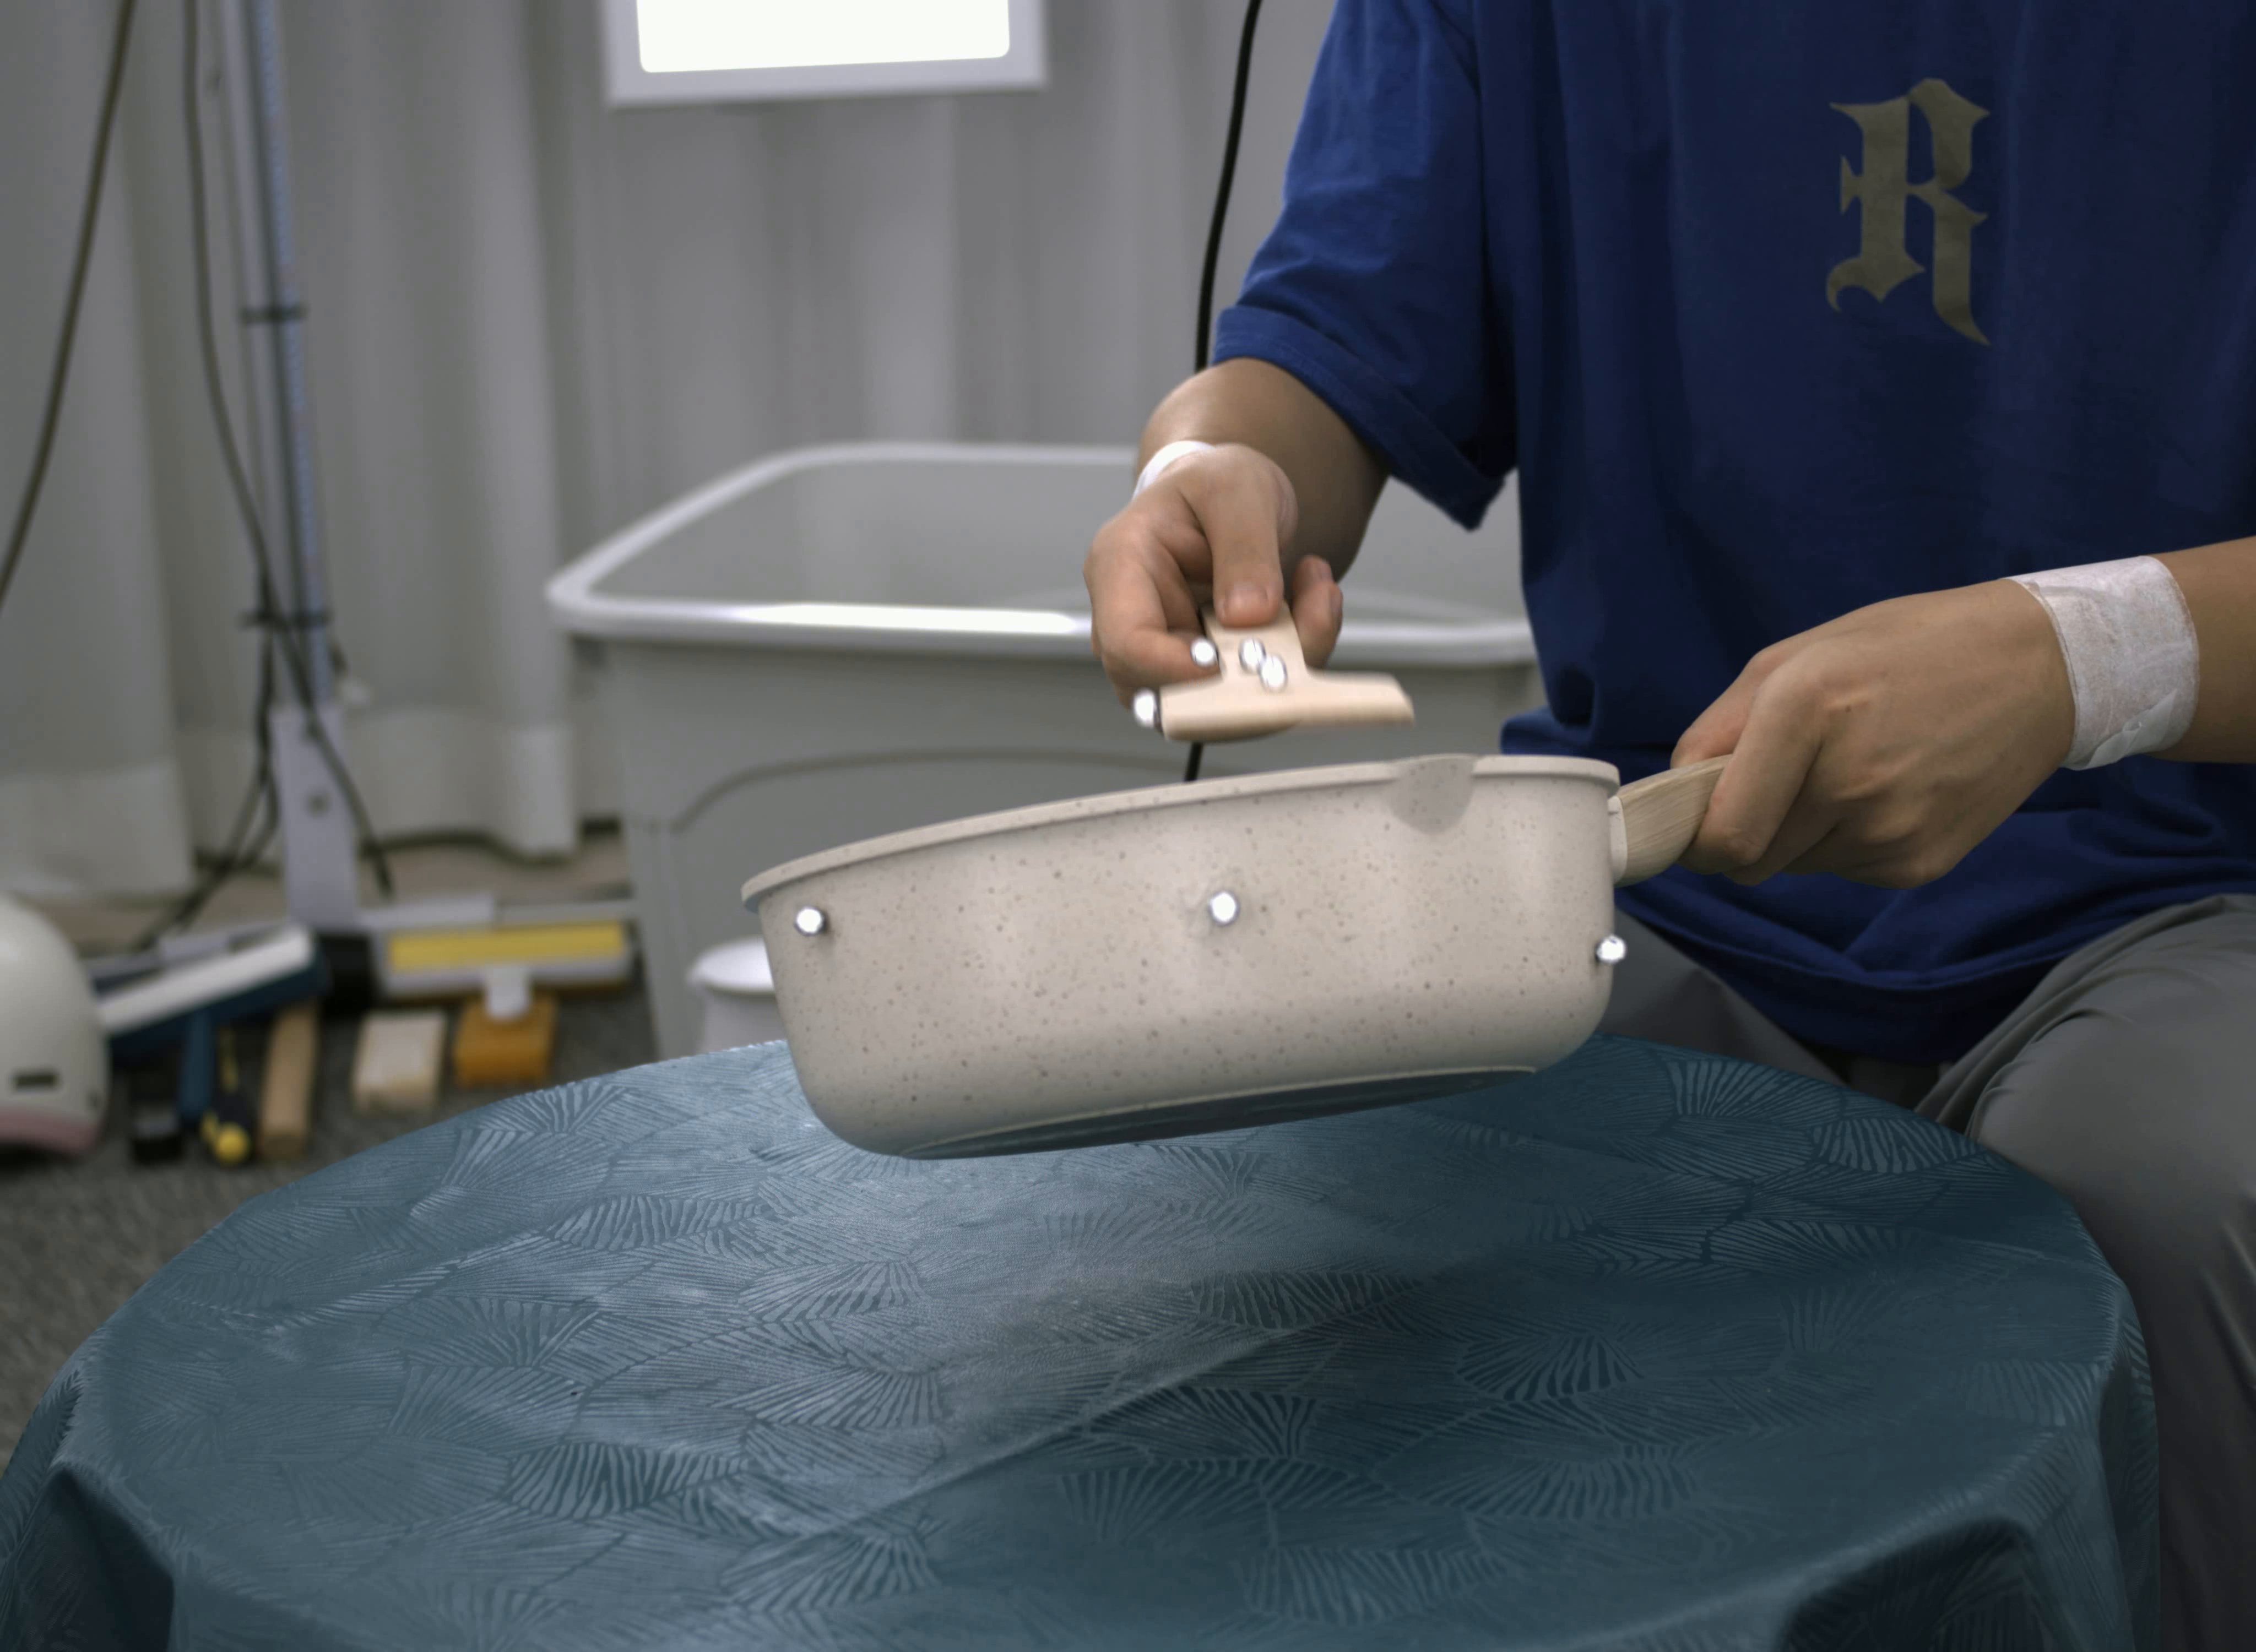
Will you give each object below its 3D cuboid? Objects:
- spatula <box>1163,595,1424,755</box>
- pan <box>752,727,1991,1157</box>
[{"bbox_3d":[0.042,-0.046,1.665,0.072,0.010,0.294,-3,10,-2],"label":"spatula"},{"bbox_3d":[0.097,0.027,1.593,0.432,0.103,0.263,-3,-10,-35],"label":"pan"}]
